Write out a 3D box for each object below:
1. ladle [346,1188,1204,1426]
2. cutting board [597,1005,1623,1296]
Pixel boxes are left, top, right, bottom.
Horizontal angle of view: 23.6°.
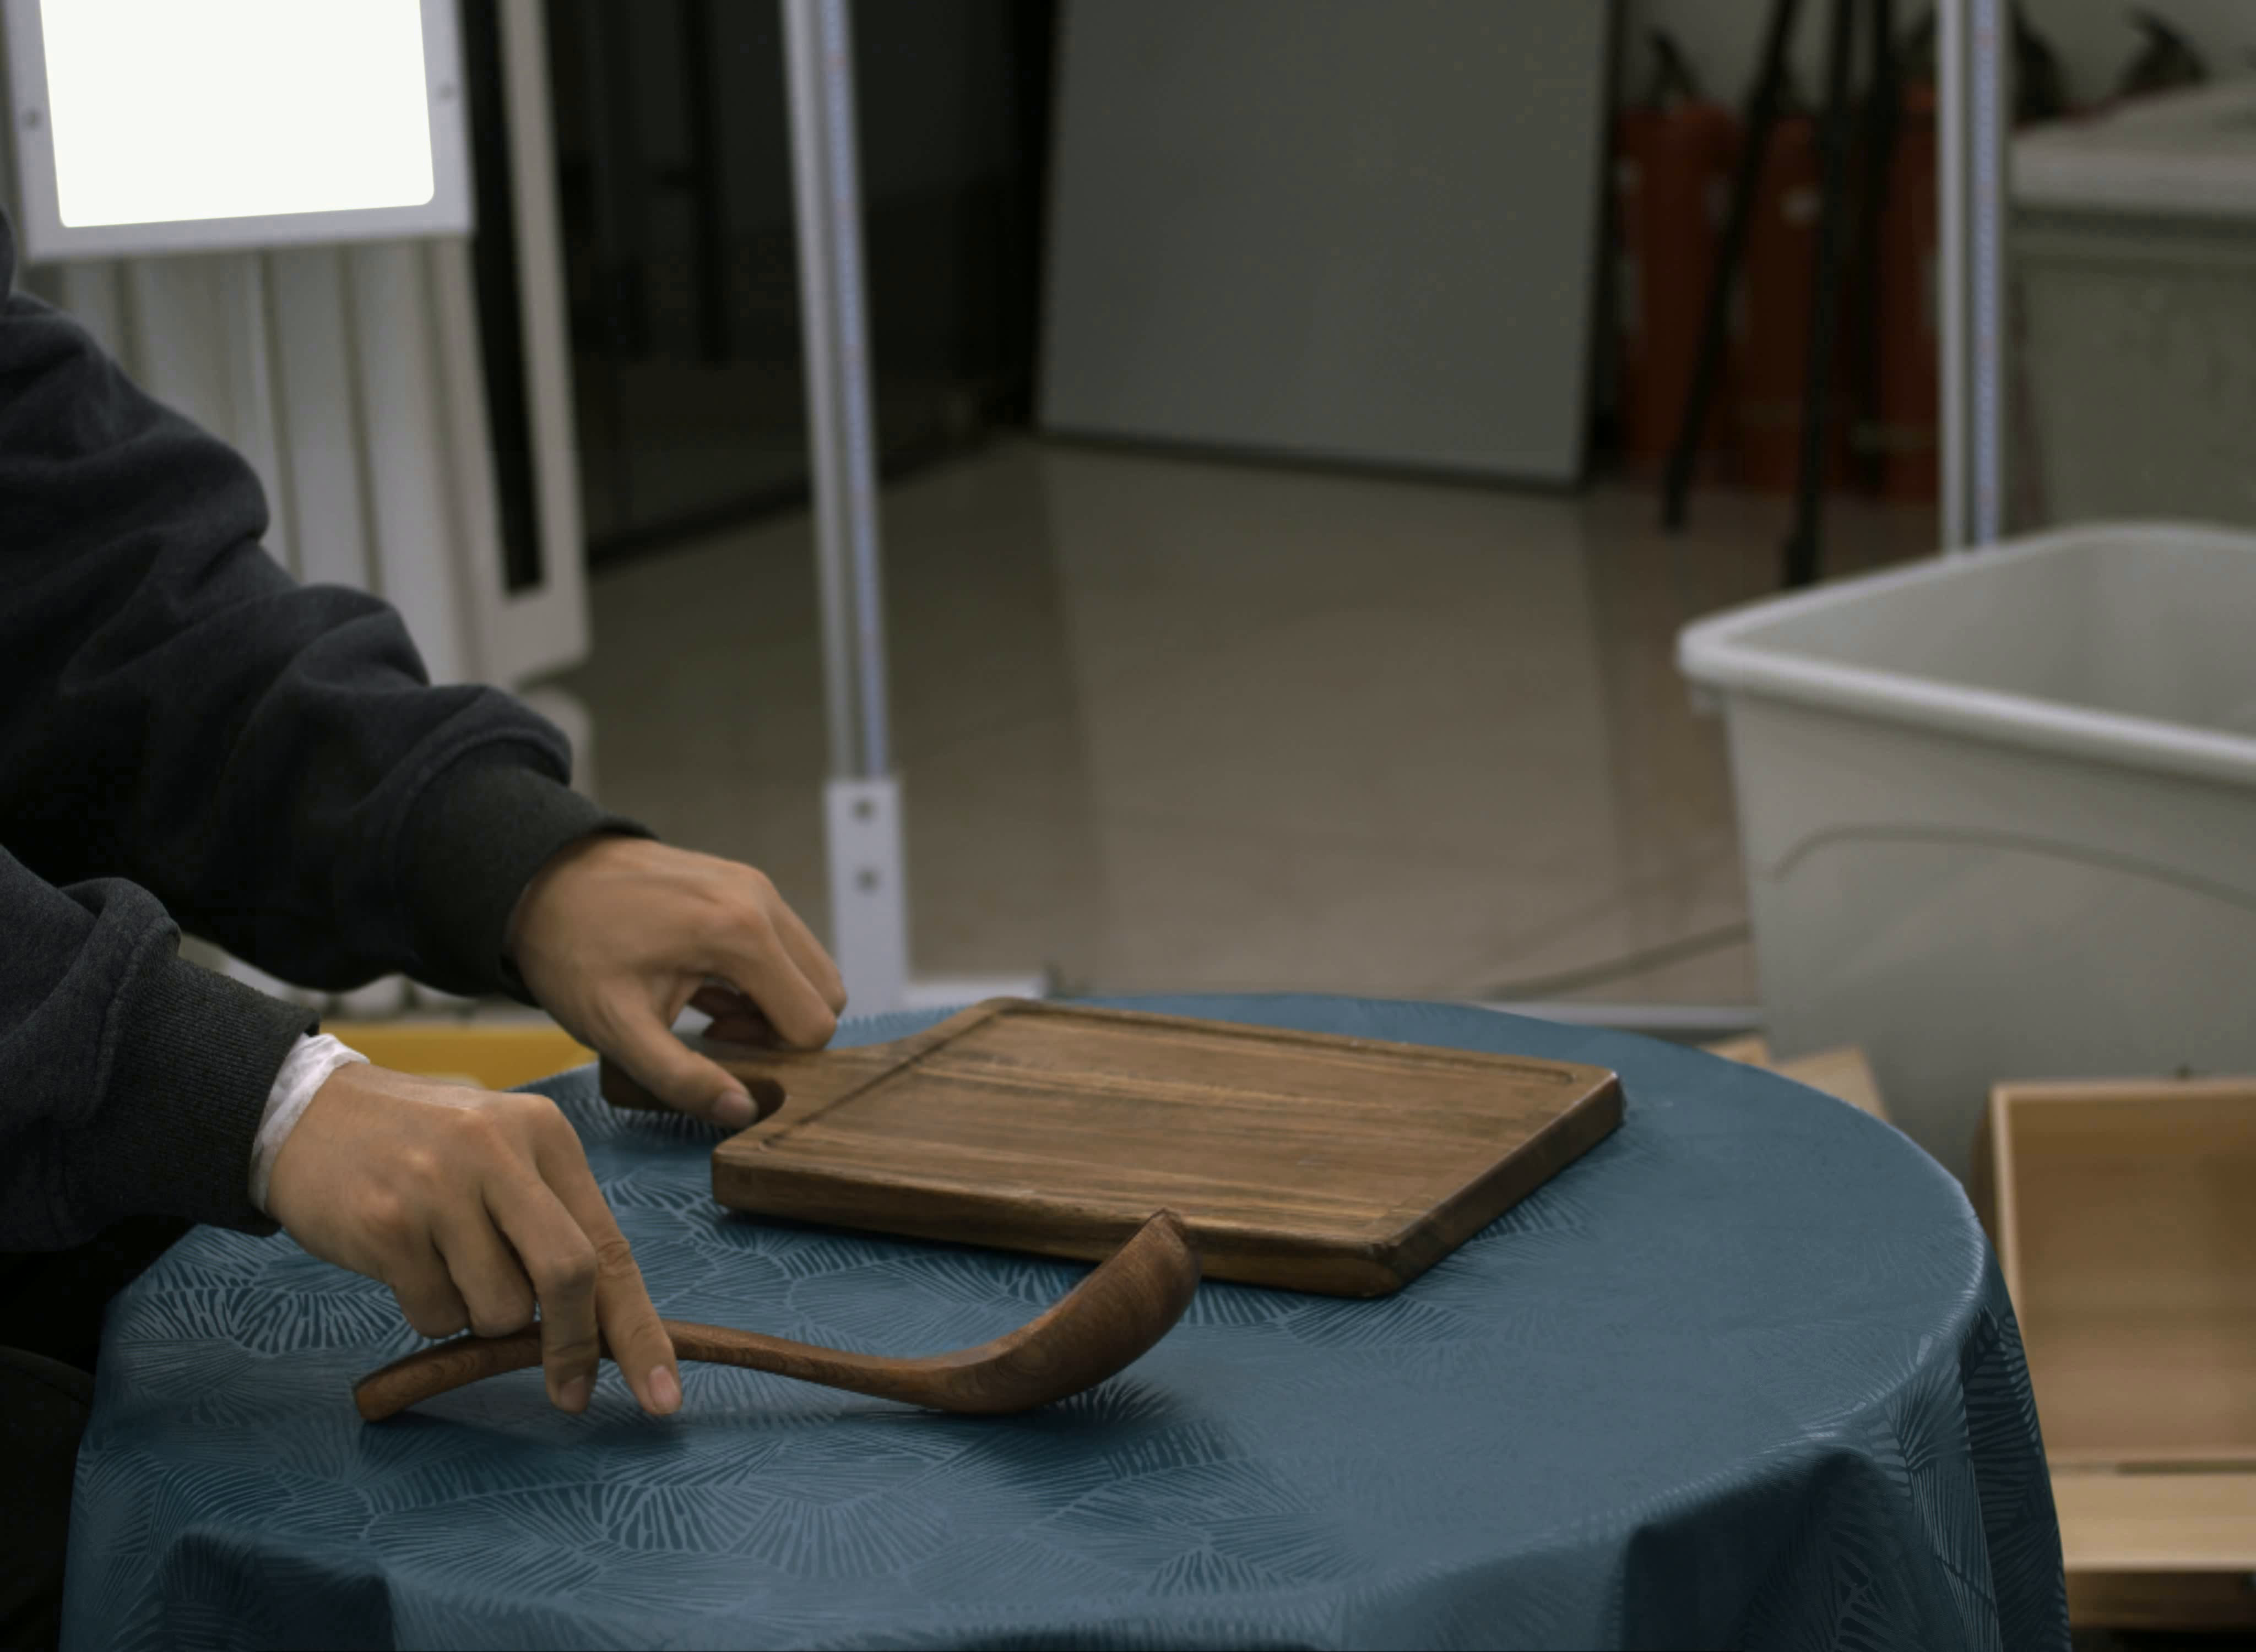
[{"bbox_3d":[-0.104,0.141,1.580,0.258,0.066,0.076,-2,1,11],"label":"ladle"},{"bbox_3d":[-0.027,0.099,1.805,0.353,0.023,0.198,6,15,29],"label":"cutting board"}]
